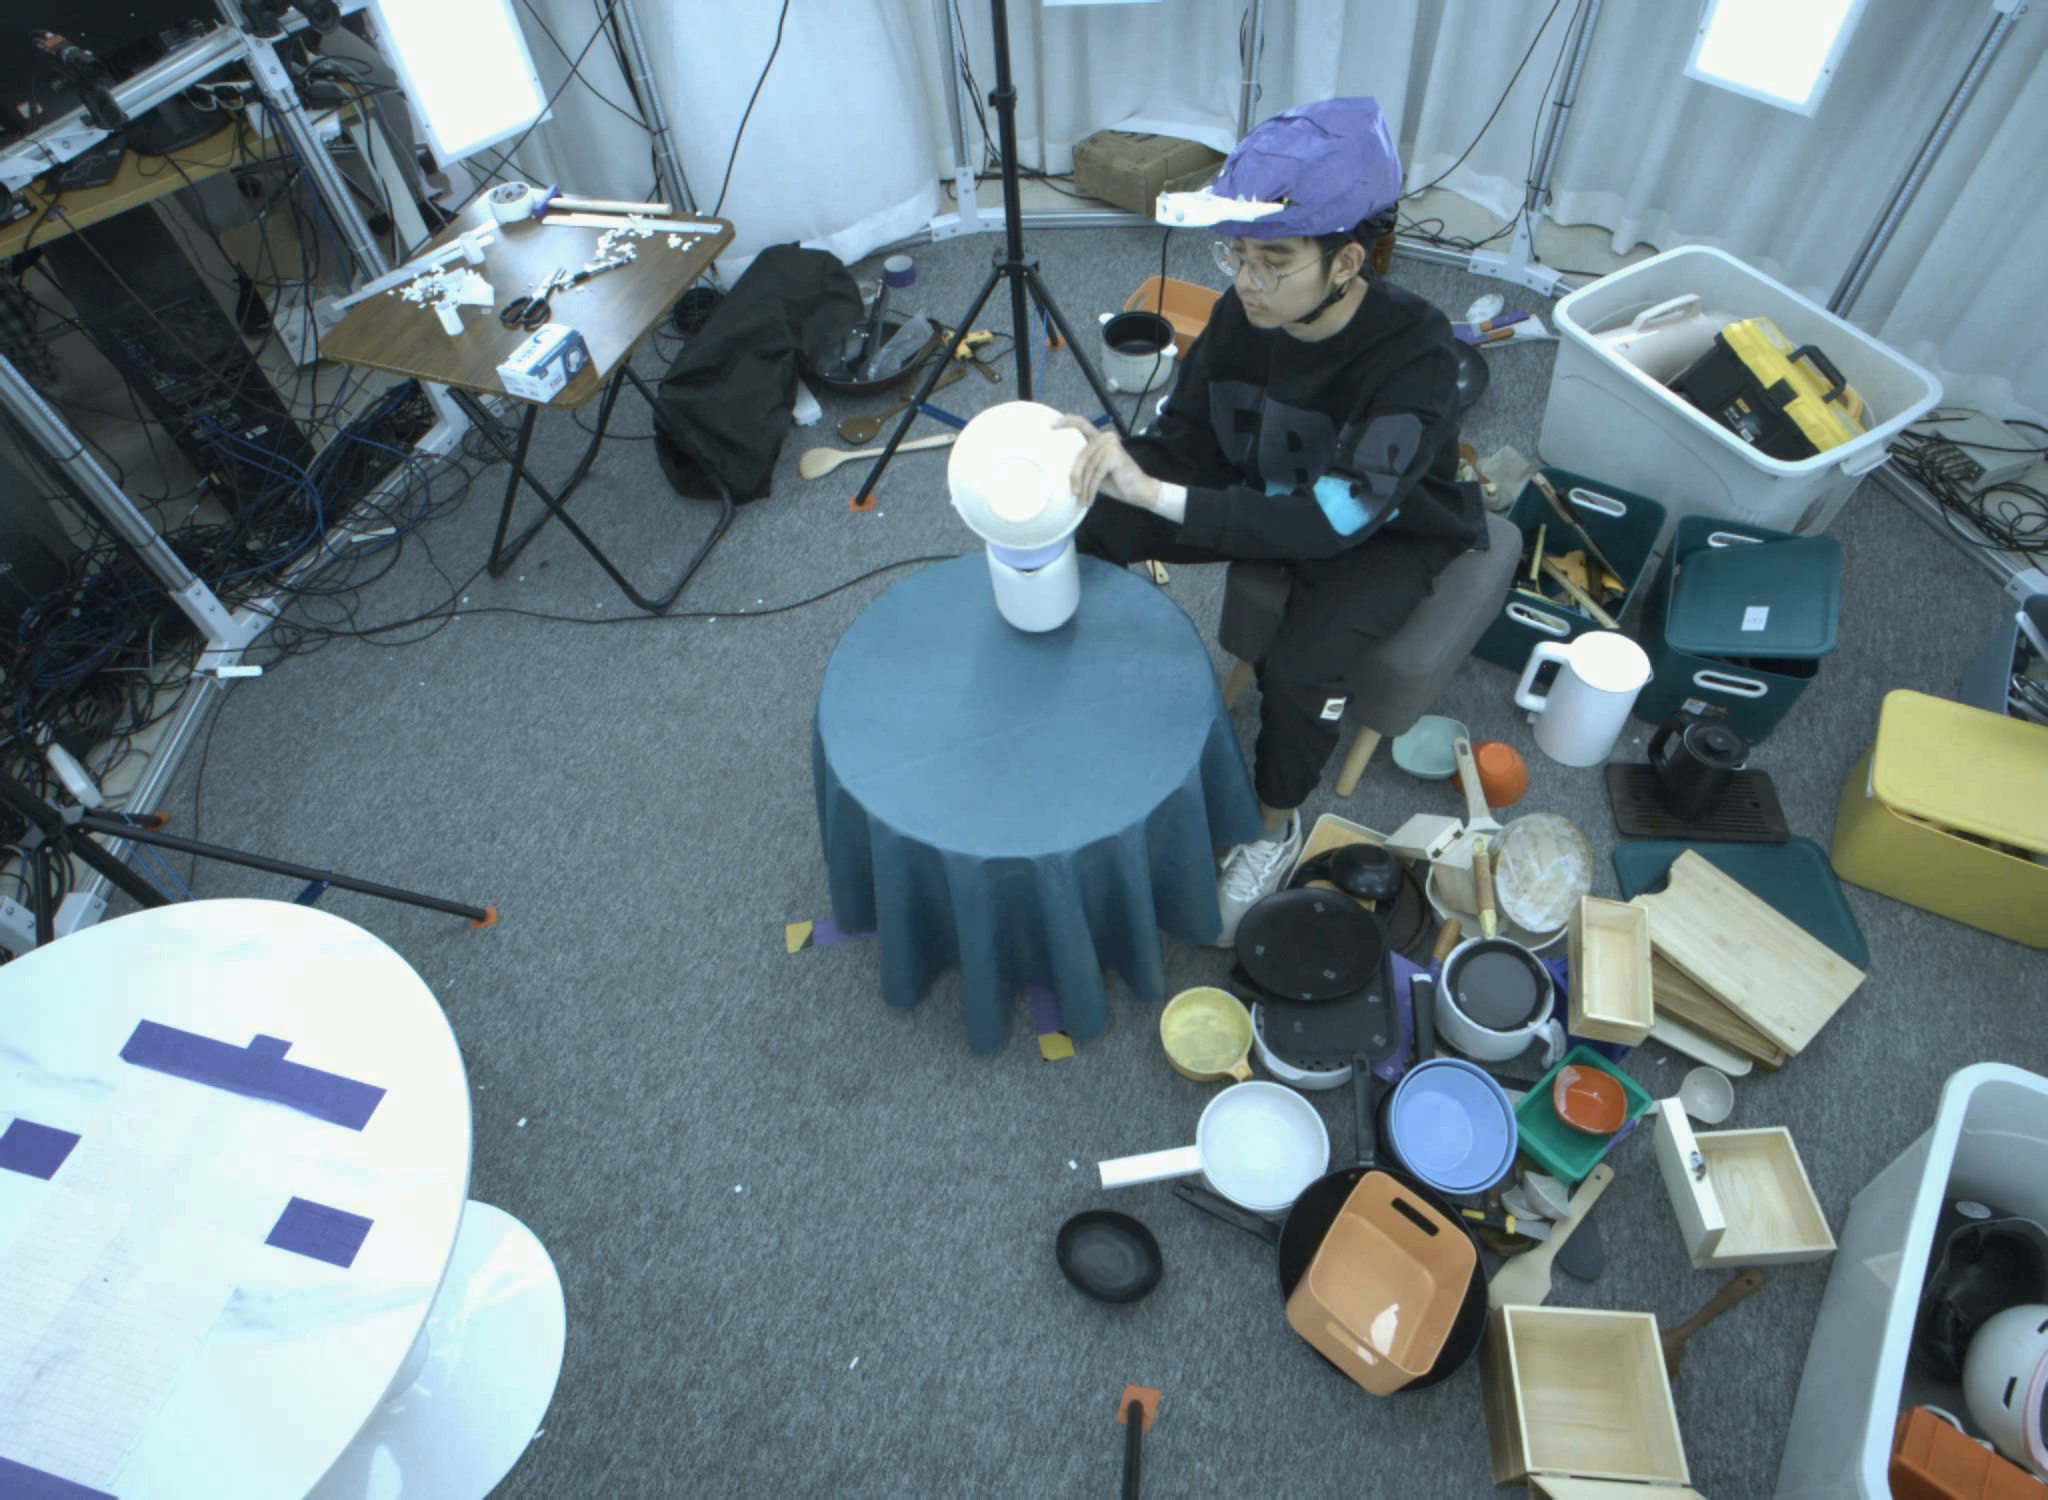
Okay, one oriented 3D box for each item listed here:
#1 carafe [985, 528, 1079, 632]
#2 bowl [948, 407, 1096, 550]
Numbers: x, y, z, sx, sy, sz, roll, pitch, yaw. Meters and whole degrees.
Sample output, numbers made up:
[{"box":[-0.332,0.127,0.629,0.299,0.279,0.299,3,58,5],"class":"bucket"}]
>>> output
[{"box":[0.012,-0.294,1.843,0.132,0.184,0.189,-4,61,2],"class":"carafe"},{"box":[-0.010,-0.356,1.628,0.203,0.205,0.077,3,25,5],"class":"bowl"}]
